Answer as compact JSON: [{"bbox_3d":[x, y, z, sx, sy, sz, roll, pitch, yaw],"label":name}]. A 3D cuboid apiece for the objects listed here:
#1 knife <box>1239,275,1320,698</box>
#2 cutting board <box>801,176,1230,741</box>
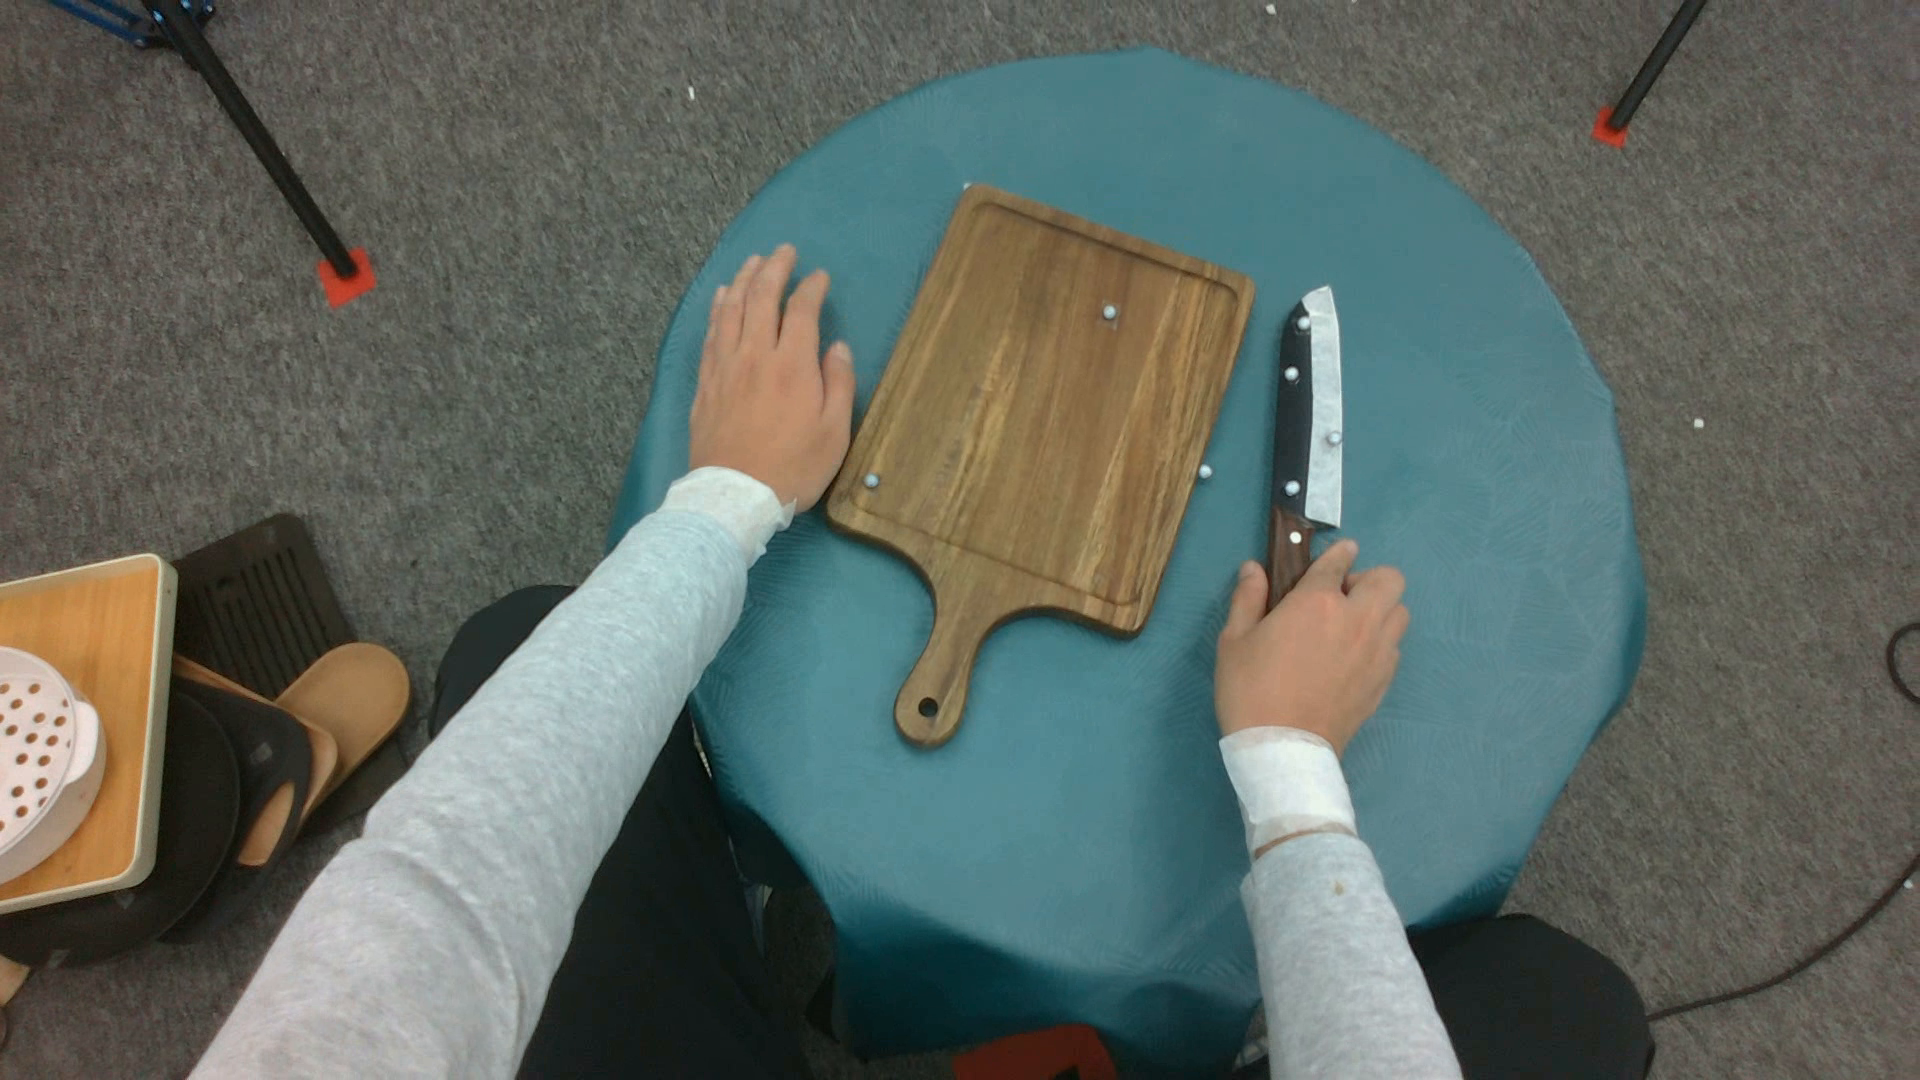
[{"bbox_3d":[0.193,-0.041,0.825,0.050,0.020,0.290,14,65,-8],"label":"knife"},{"bbox_3d":[0.023,-0.048,0.809,0.201,0.023,0.353,20,68,3],"label":"cutting board"}]
